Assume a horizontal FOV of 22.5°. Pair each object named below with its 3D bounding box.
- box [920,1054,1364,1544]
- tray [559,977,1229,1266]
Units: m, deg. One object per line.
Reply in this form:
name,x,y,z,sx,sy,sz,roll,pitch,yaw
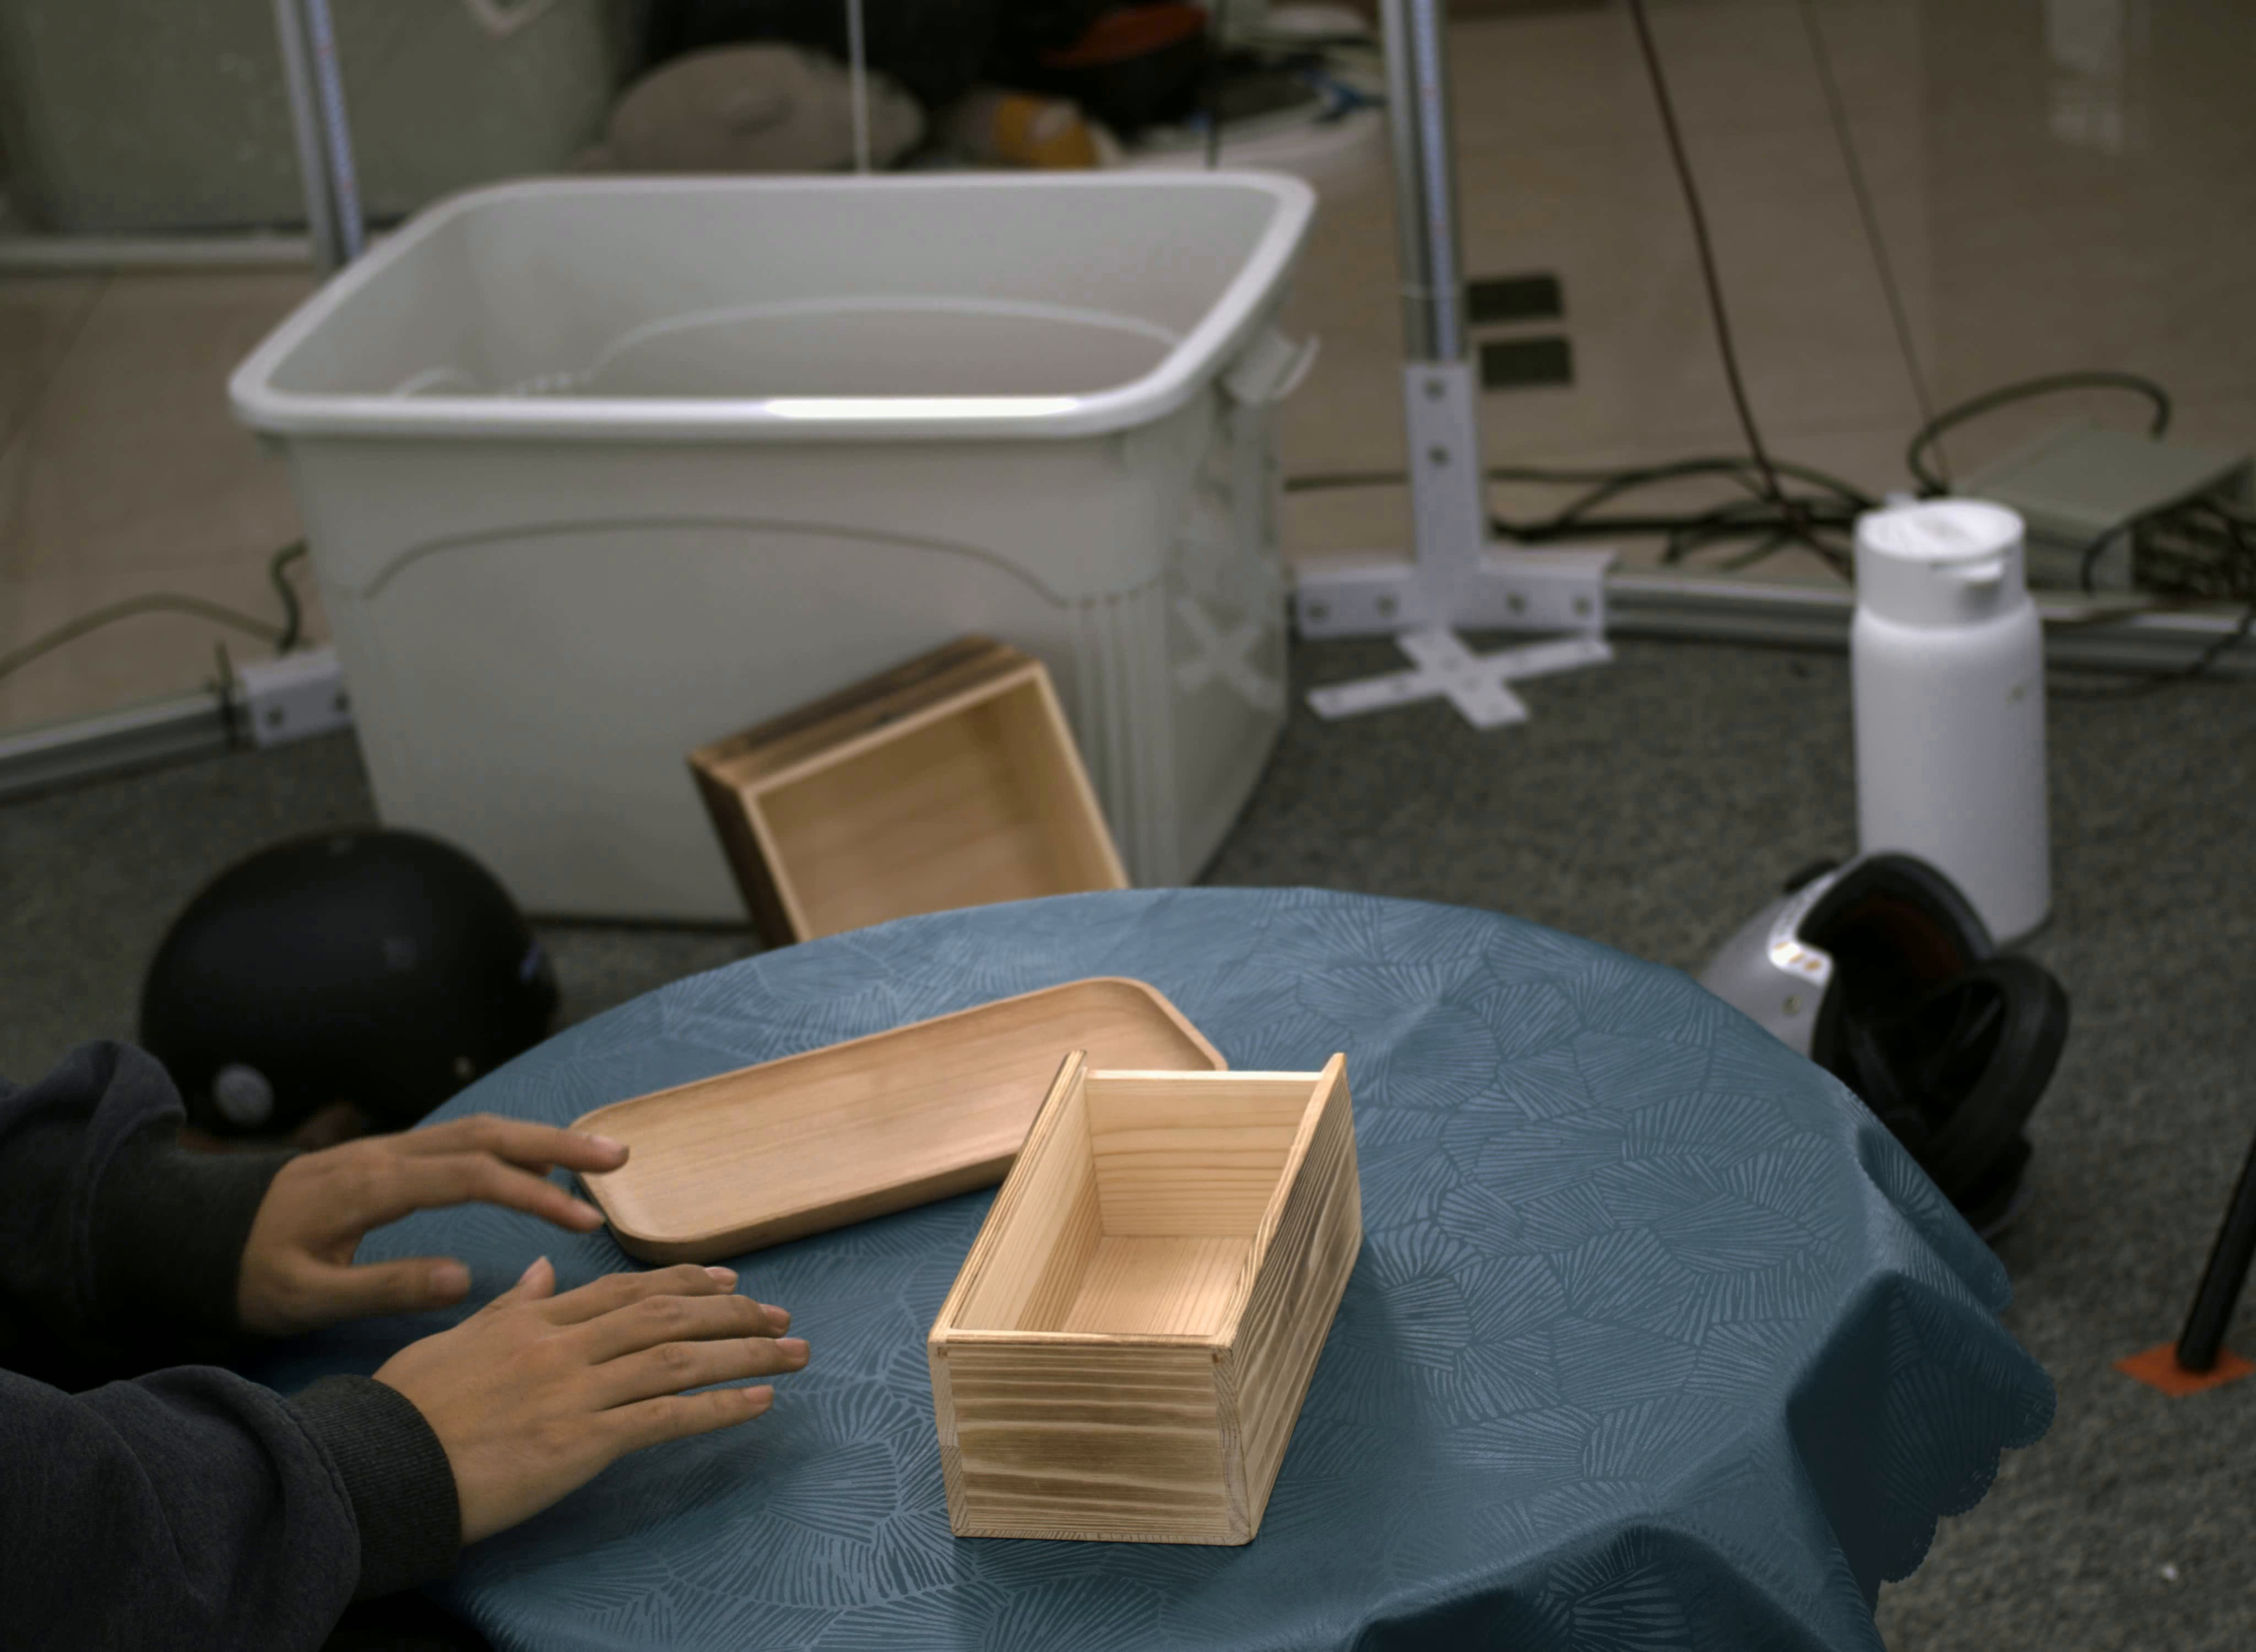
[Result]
box,0.008,0.163,1.998,0.107,0.081,0.208,0,26,14
tray,-0.091,0.114,2.203,0.250,0.023,0.129,-15,23,-16
